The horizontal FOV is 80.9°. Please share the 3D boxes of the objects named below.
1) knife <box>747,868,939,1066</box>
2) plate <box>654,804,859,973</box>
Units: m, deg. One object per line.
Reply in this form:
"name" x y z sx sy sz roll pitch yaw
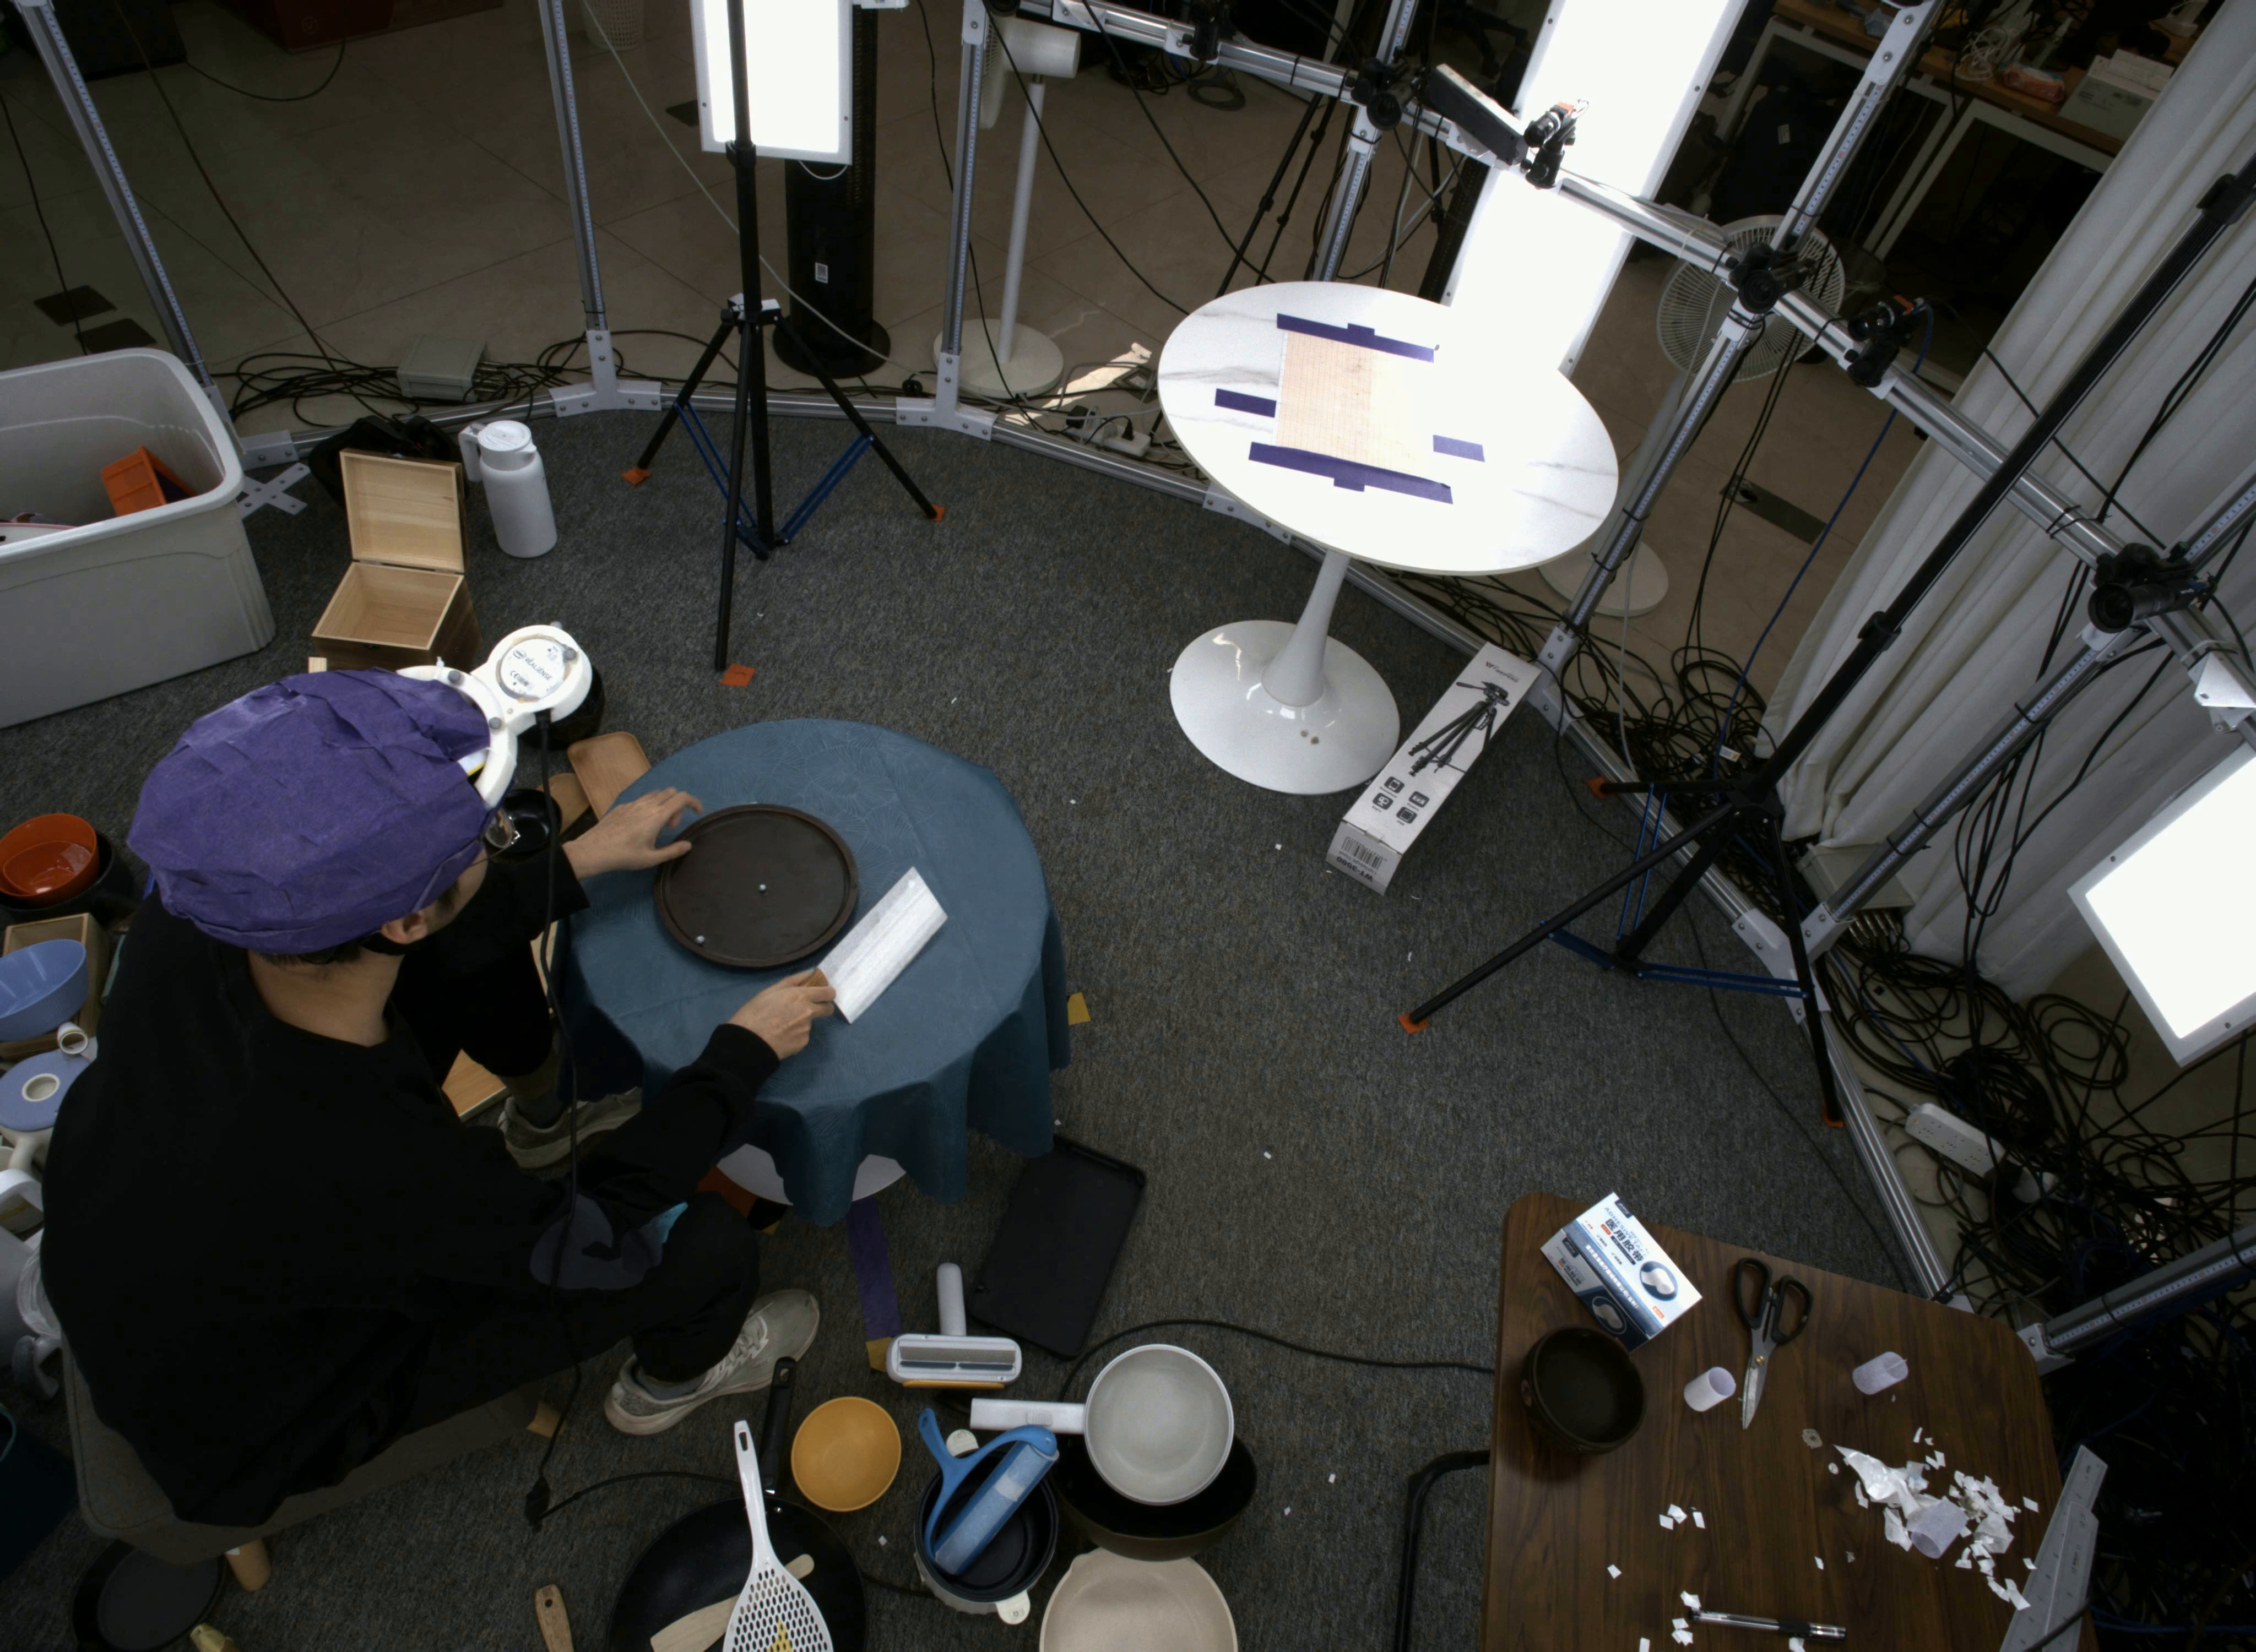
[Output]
"knife" -0.331 0.180 1.556 0.020 0.096 0.305 0 41 44
"plate" -0.466 0.075 1.630 0.255 0.029 0.250 9 52 -10
